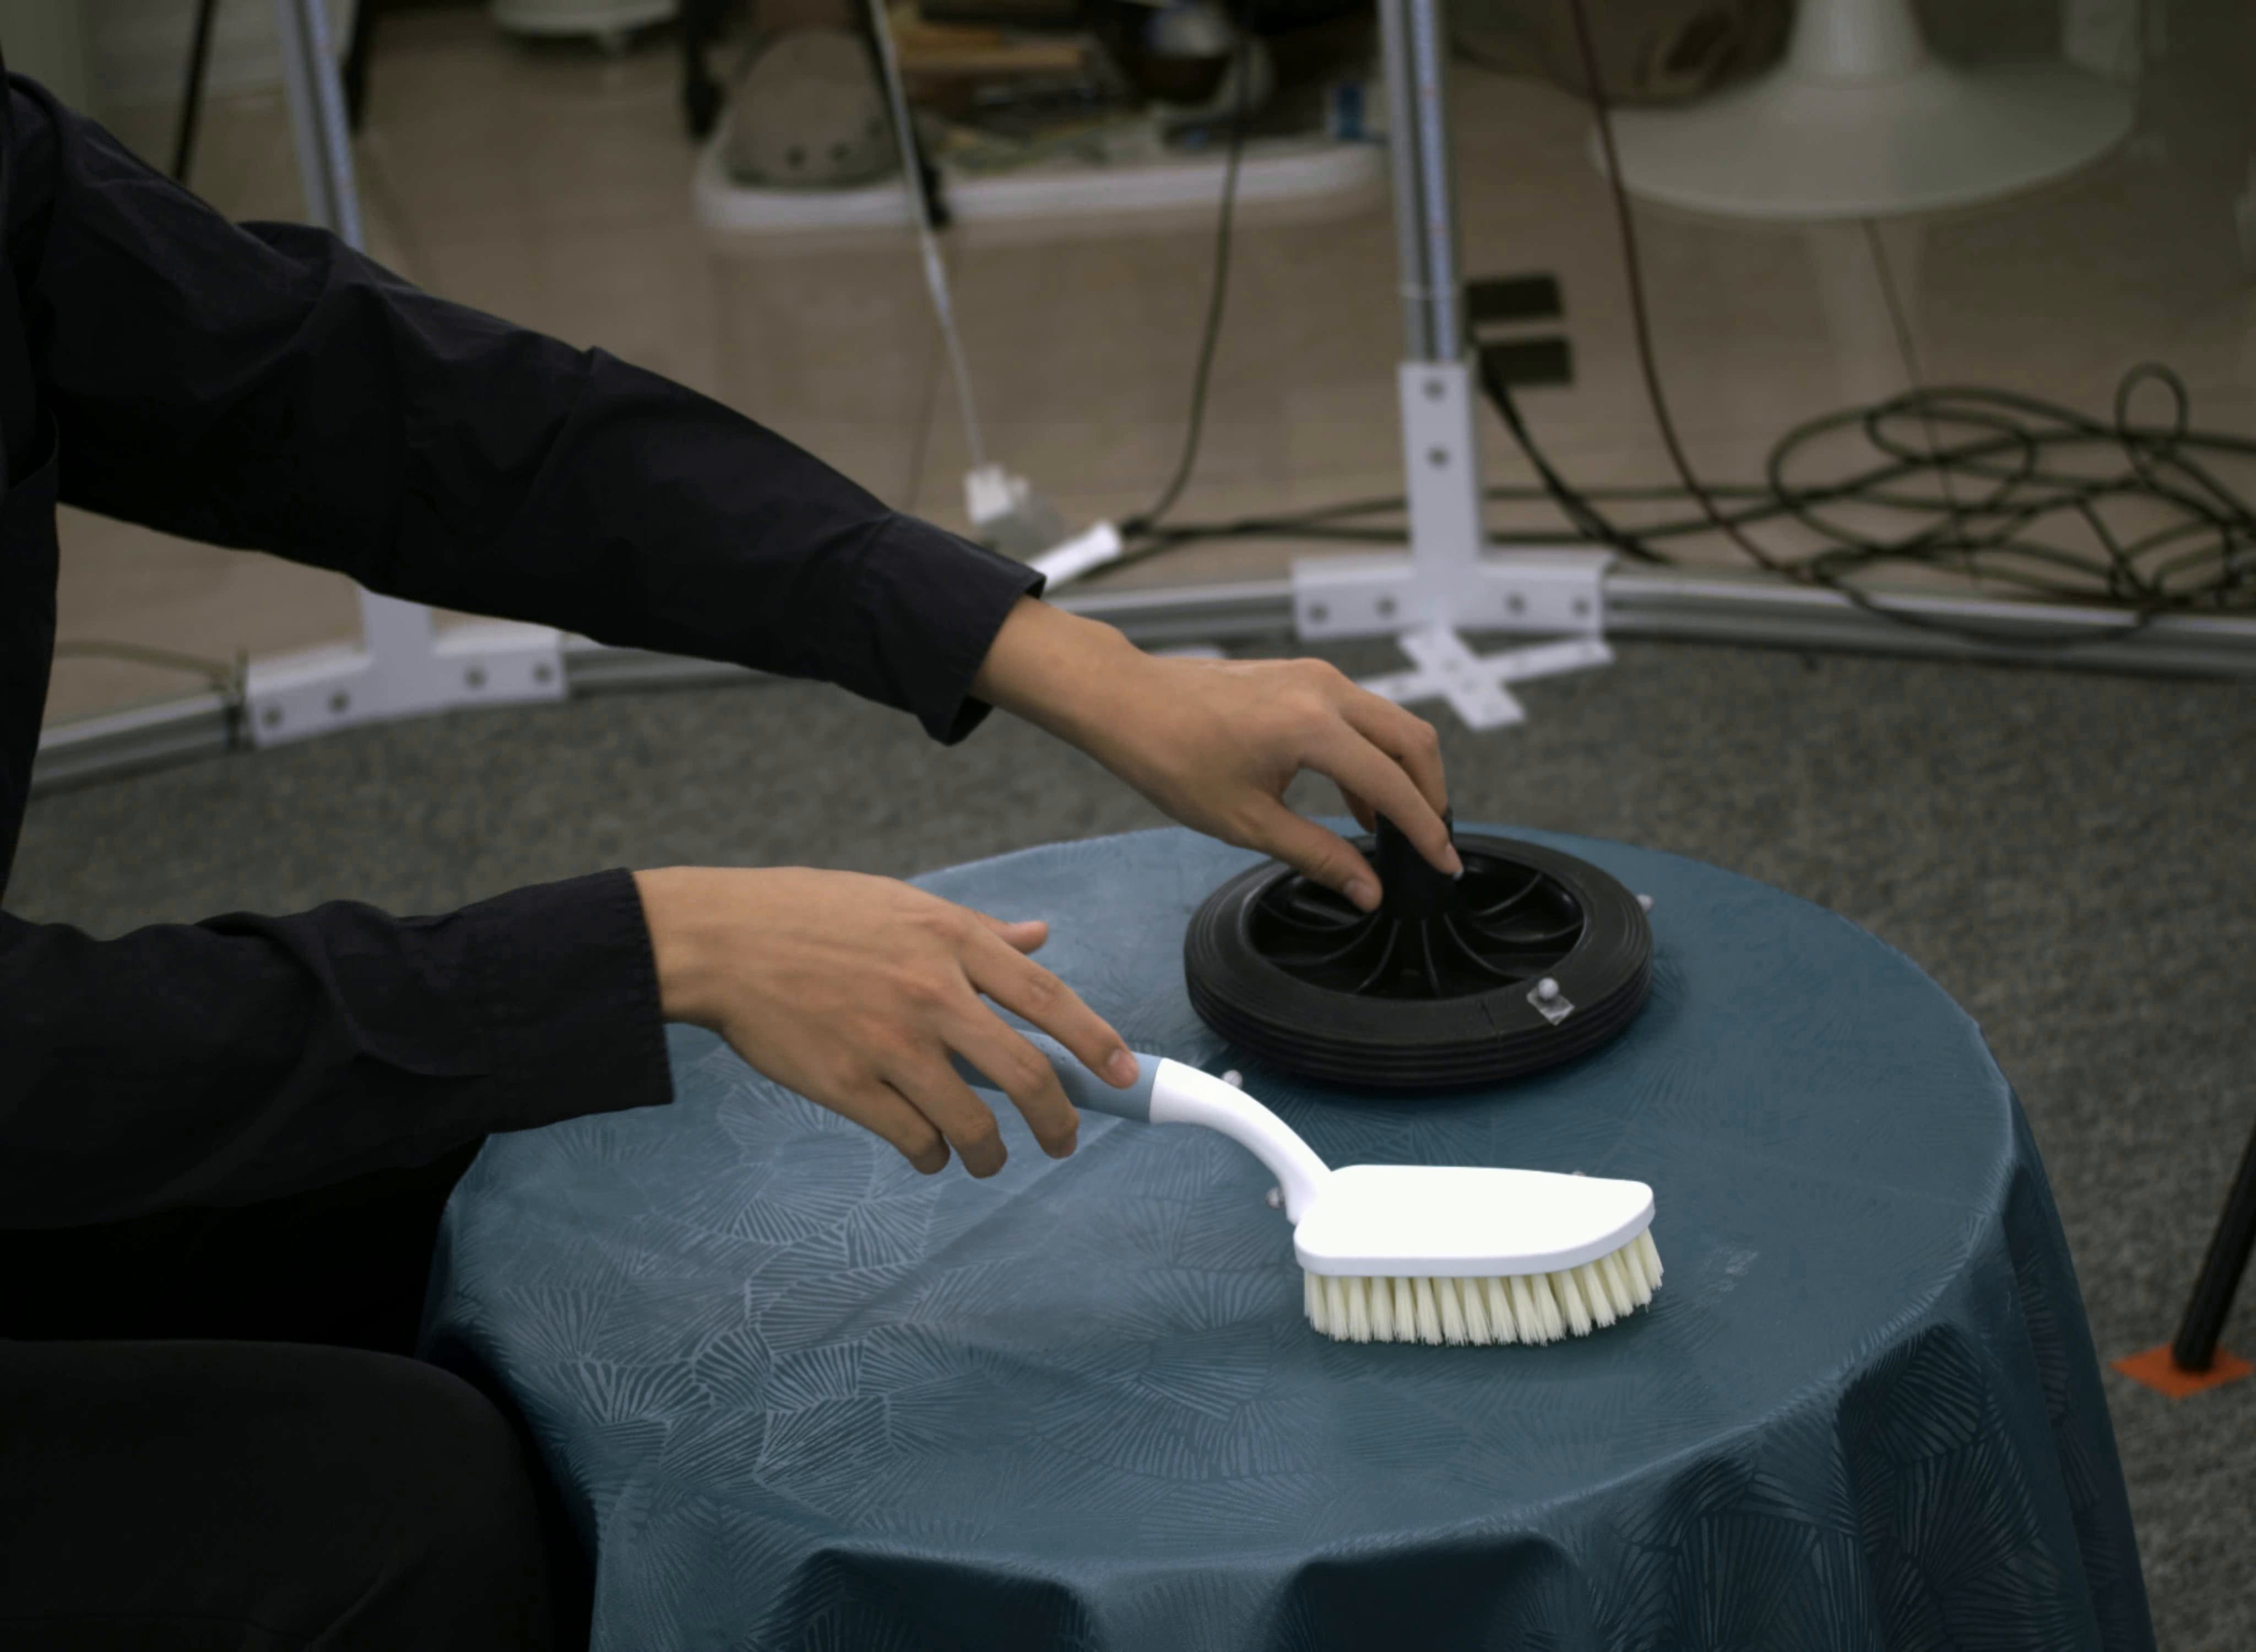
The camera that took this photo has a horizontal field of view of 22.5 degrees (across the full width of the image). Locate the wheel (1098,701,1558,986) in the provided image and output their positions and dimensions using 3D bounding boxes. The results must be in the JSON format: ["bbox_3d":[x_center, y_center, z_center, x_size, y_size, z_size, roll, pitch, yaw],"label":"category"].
[{"bbox_3d":[0.079,-0.008,2.285,0.186,0.080,0.188,20,37,36],"label":"wheel"}]

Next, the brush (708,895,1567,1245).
[{"bbox_3d":[0.001,0.099,2.080,0.324,0.084,0.083,12,-8,9],"label":"brush"}]
